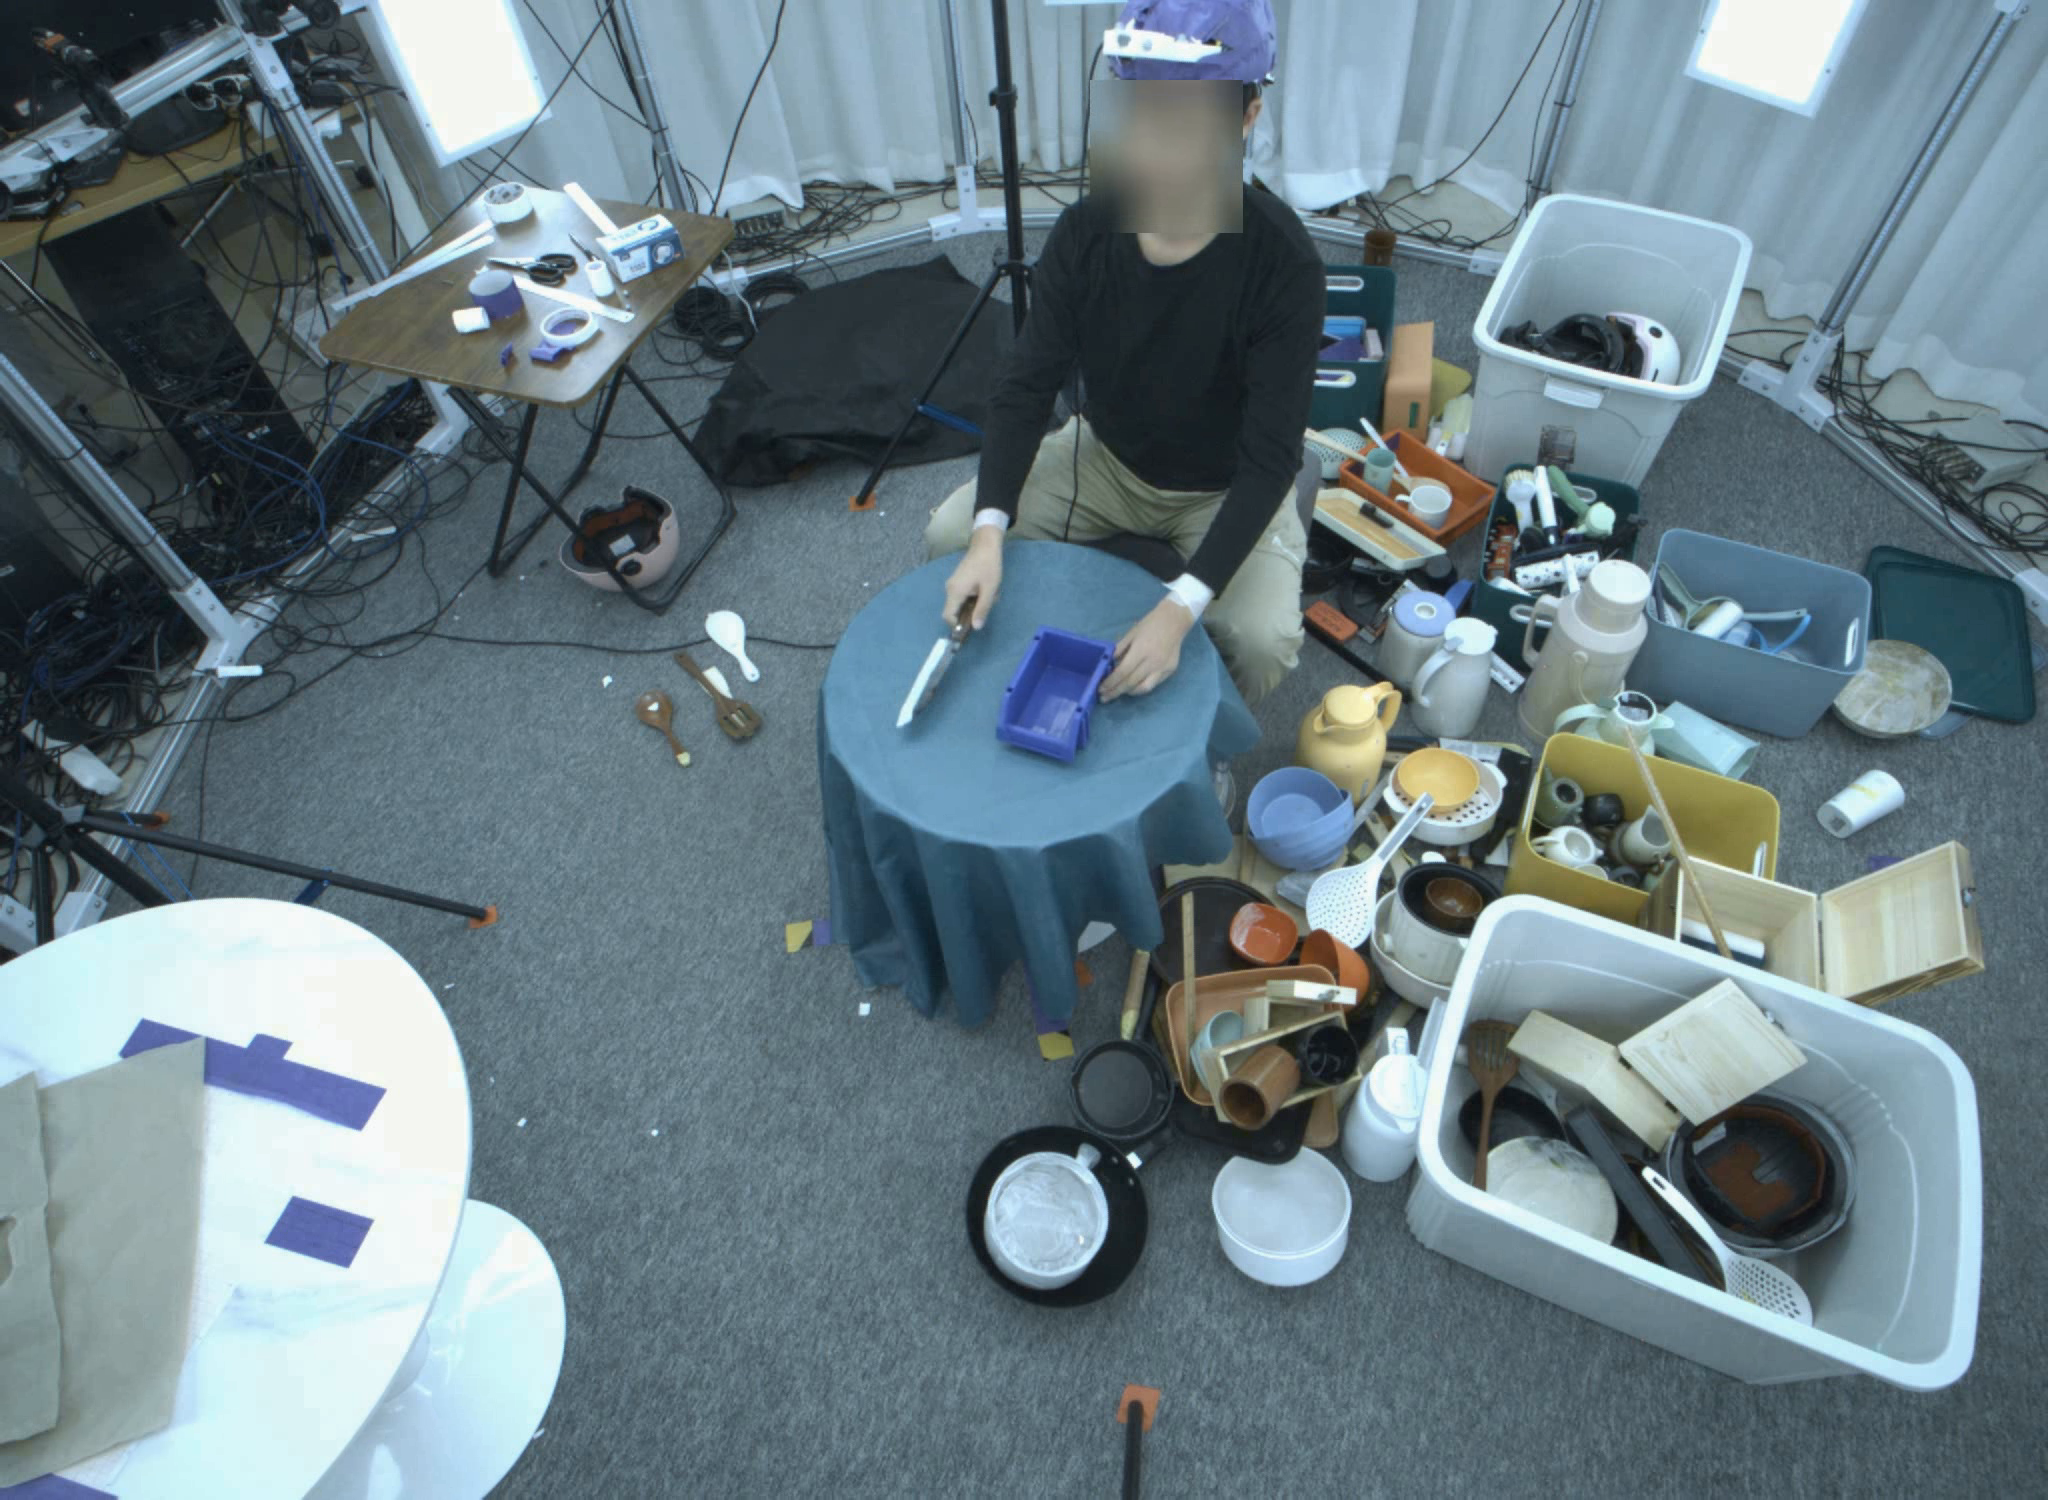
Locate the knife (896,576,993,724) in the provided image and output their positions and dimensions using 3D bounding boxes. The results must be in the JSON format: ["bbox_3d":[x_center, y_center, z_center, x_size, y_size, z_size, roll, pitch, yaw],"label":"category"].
[{"bbox_3d":[-0.119,-0.151,1.841,0.049,0.020,0.289,12,60,32],"label":"knife"}]

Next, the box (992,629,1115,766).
[{"bbox_3d":[0.046,-0.073,1.788,0.123,0.083,0.179,19,55,15],"label":"box"}]
